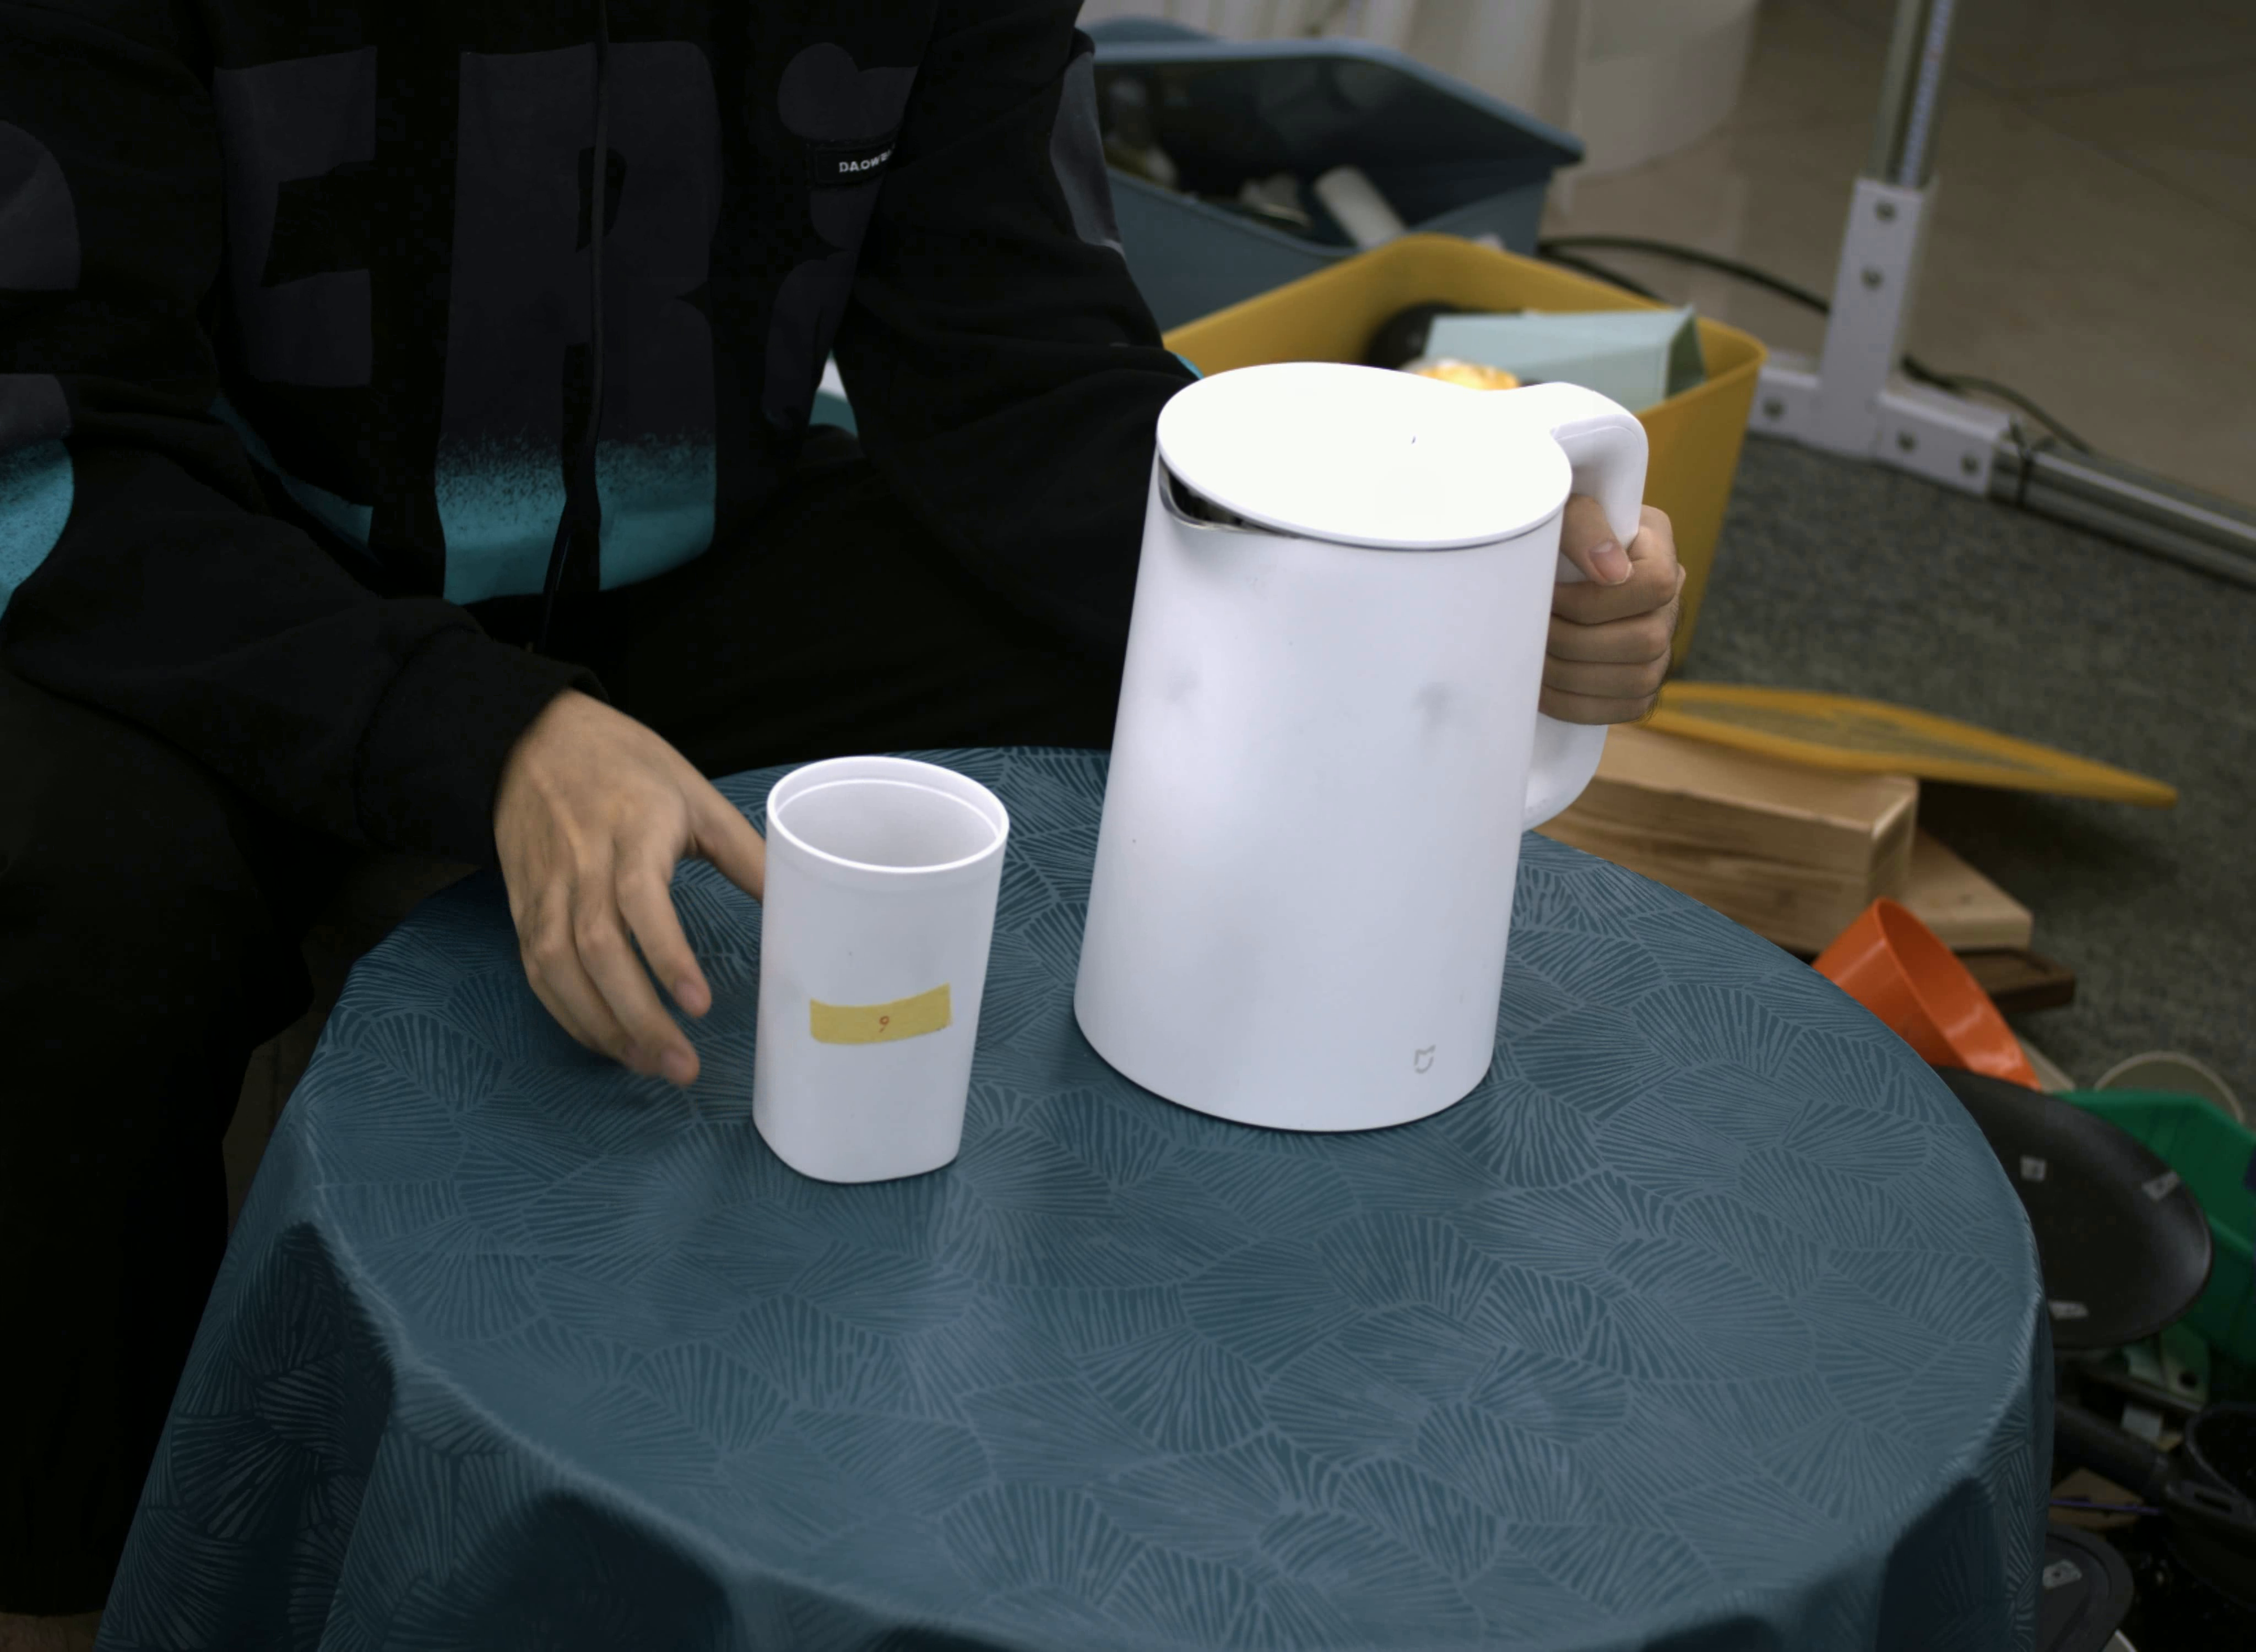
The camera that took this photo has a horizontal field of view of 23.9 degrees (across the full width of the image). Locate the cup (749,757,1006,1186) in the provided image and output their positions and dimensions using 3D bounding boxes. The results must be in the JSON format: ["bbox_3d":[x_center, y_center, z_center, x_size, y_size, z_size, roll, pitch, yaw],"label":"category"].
[{"bbox_3d":[-0.086,0.051,1.786,0.081,0.125,0.082,5,26,-3],"label":"cup"}]

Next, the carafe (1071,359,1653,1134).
[{"bbox_3d":[0.089,-0.034,1.874,0.212,0.239,0.153,-16,35,-36],"label":"carafe"}]
